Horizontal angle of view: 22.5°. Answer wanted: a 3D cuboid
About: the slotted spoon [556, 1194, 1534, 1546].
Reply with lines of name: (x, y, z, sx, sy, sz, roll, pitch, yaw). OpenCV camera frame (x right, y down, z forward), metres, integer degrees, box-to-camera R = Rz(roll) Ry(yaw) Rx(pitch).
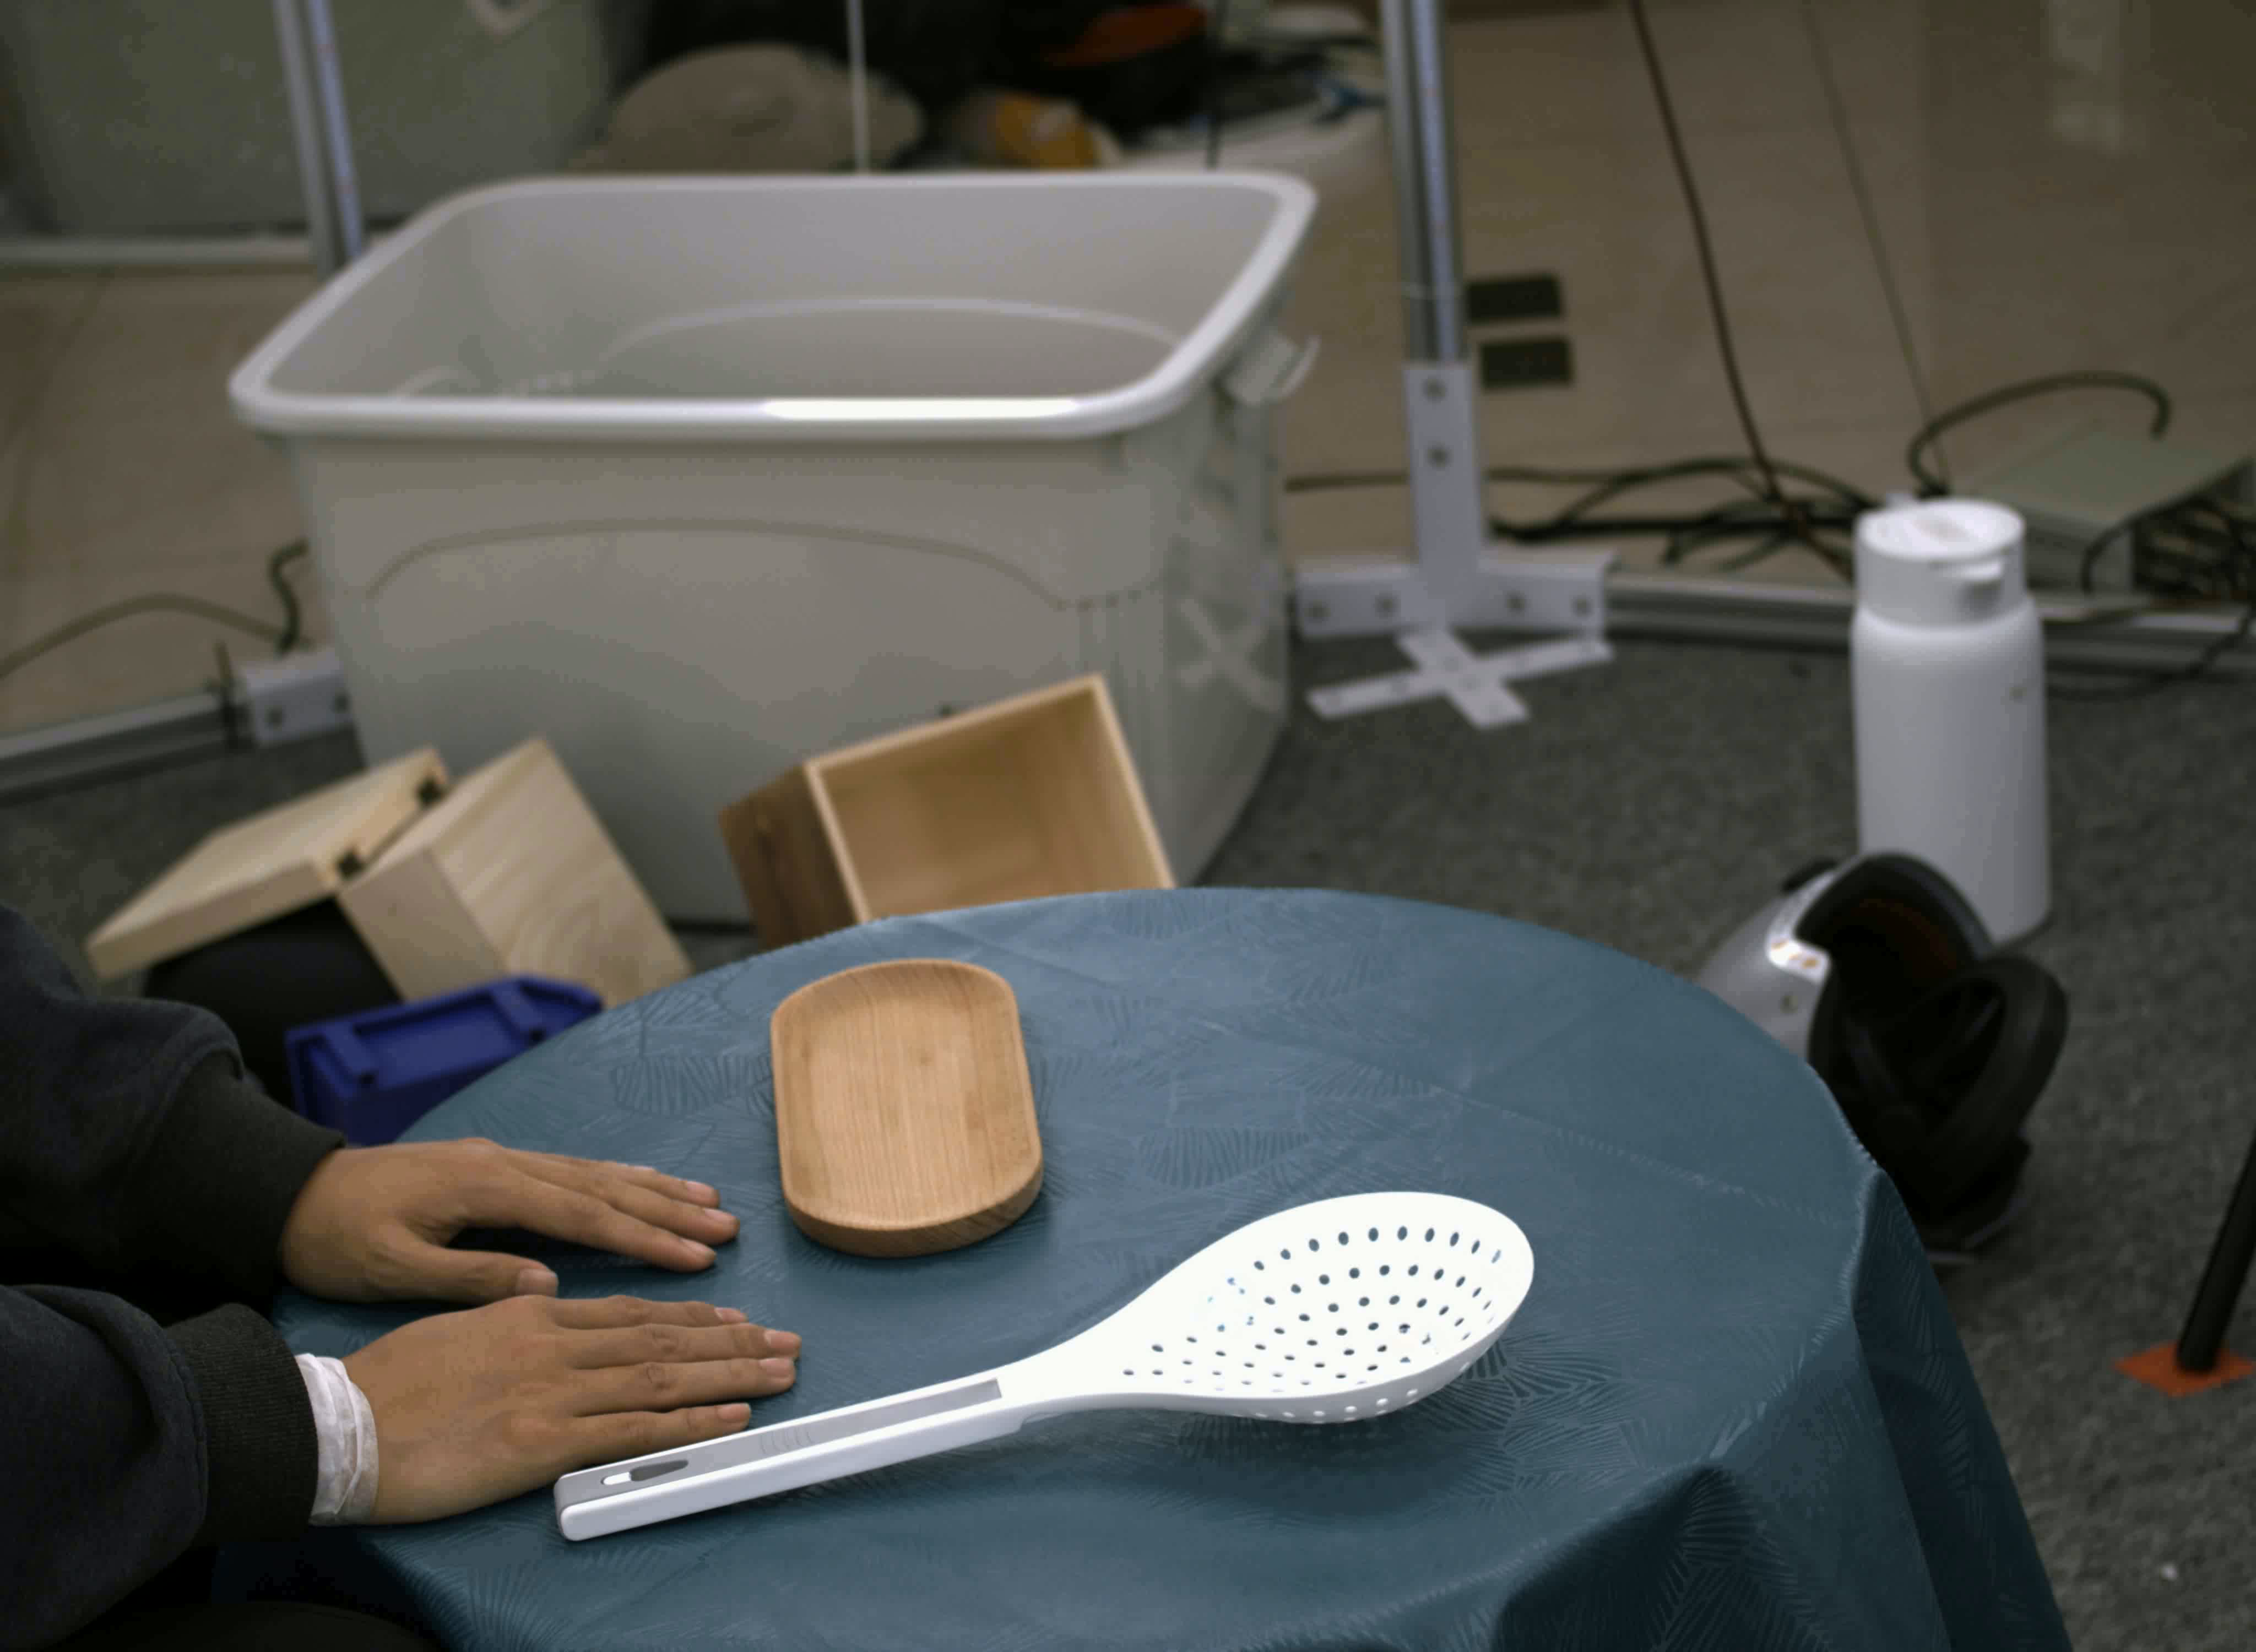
slotted spoon: (-0.028, 0.196, 1.977, 0.349, 0.046, 0.134, -10, 23, -6)

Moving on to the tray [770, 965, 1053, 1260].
tray: (-0.085, 0.110, 2.212, 0.101, 0.020, 0.228, -9, 26, -3)
